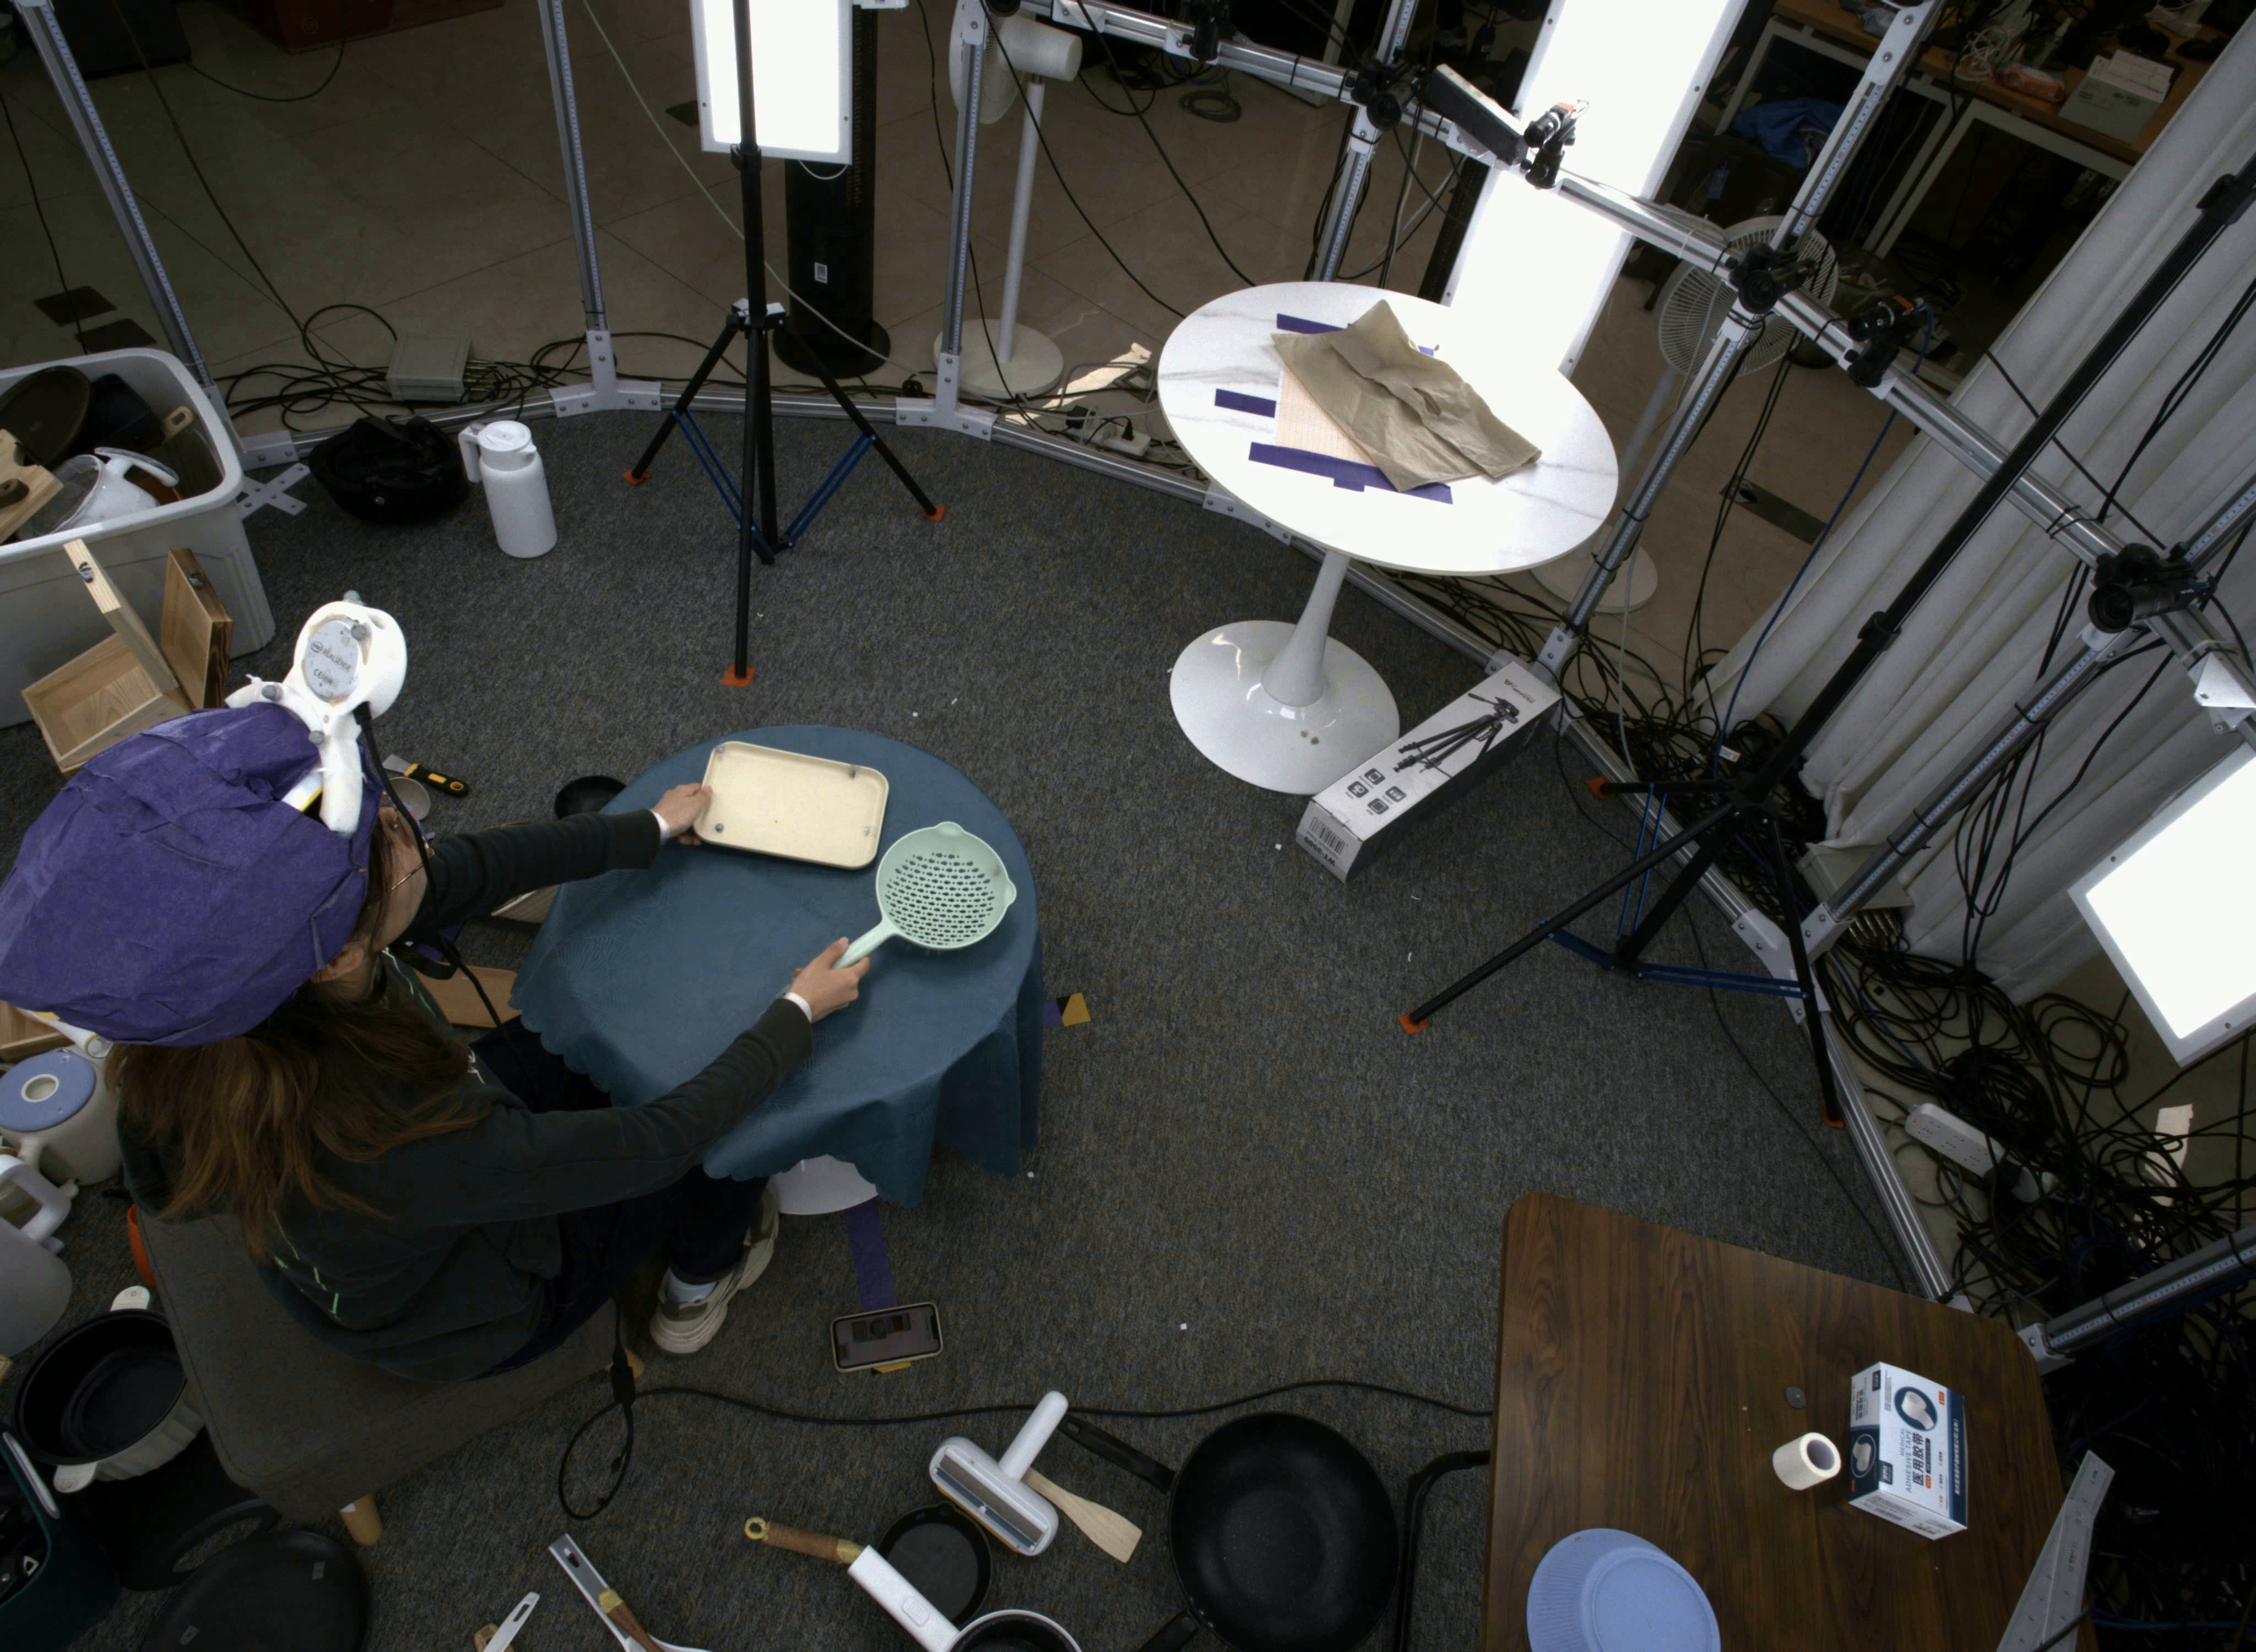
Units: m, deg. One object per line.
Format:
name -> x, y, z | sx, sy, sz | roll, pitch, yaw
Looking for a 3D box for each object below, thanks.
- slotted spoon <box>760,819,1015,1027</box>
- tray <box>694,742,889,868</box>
slotted spoon -> -0.305, 0.130, 1.610 | 0.167, 0.076, 0.360 | 47, 52, 10
tray -> -0.444, -0.027, 1.720 | 0.240, 0.018, 0.168 | 11, 52, -13
